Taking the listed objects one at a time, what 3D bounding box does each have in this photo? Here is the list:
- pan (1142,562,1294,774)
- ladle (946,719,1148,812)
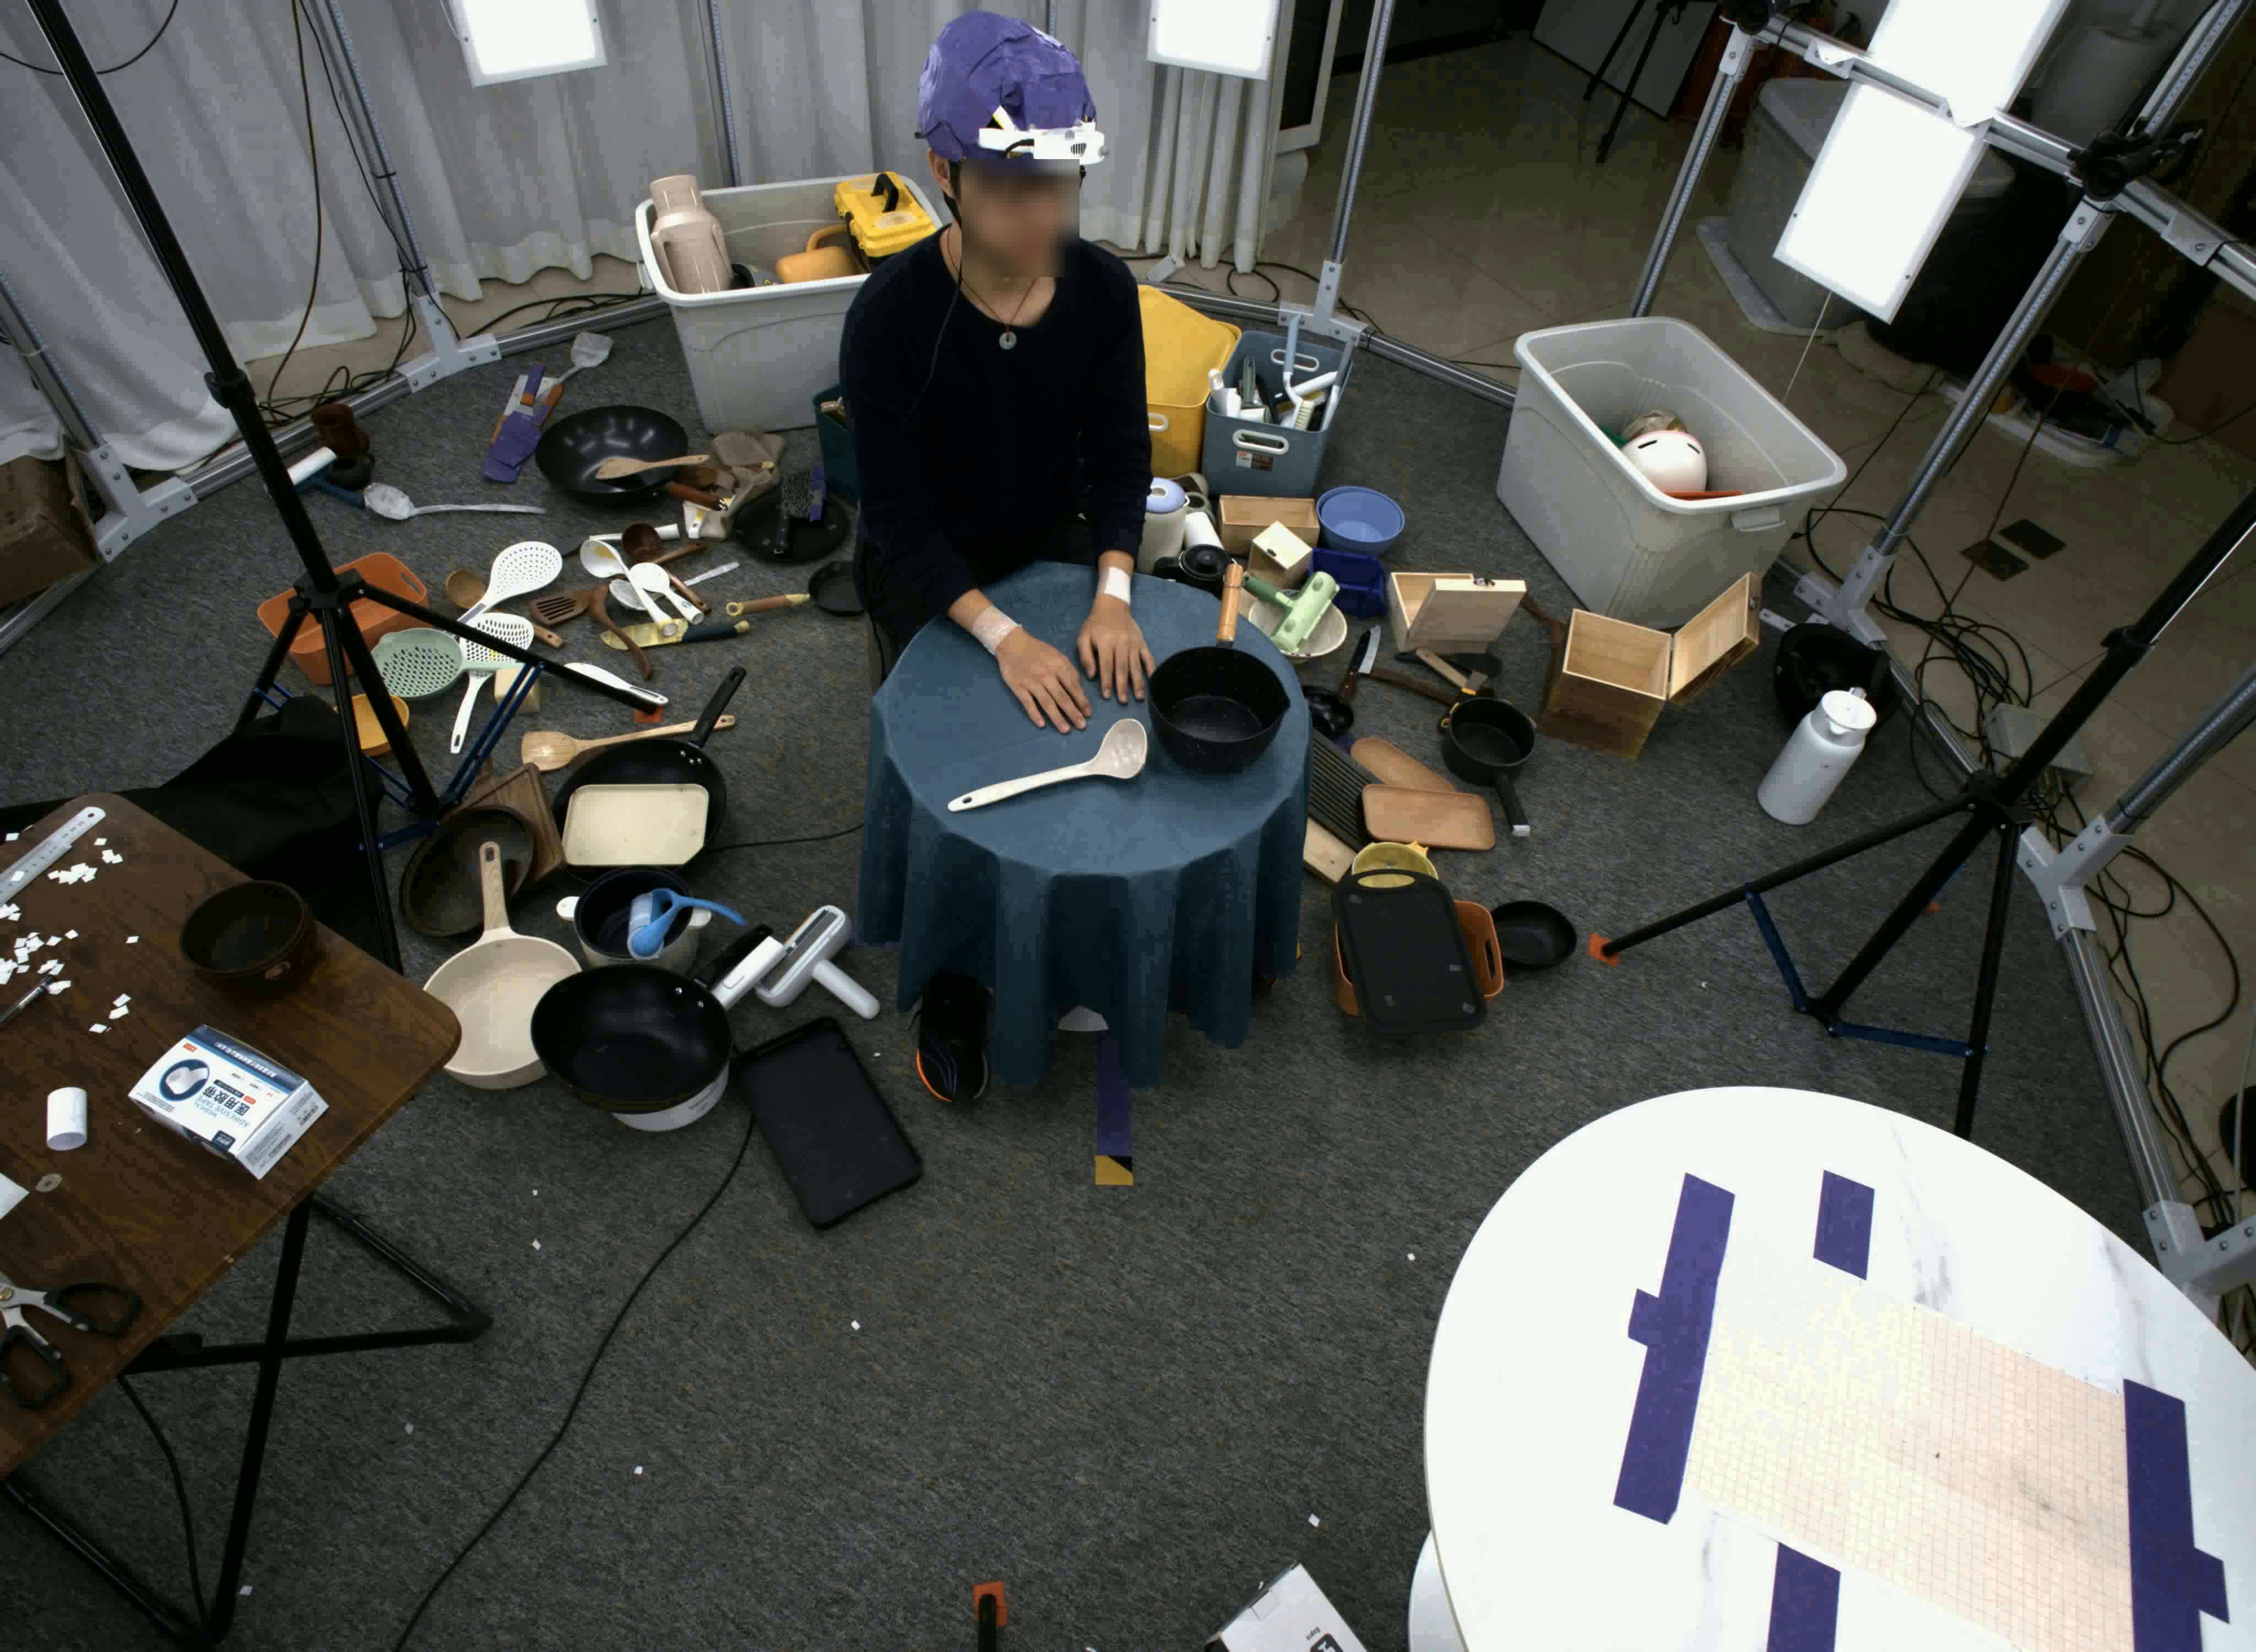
[{"bbox_3d":[0.128,-0.222,1.800,0.207,0.105,0.351,7,50,3],"label":"pan"},{"bbox_3d":[-0.105,-0.076,1.683,0.275,0.068,0.091,-14,56,-16],"label":"ladle"}]
